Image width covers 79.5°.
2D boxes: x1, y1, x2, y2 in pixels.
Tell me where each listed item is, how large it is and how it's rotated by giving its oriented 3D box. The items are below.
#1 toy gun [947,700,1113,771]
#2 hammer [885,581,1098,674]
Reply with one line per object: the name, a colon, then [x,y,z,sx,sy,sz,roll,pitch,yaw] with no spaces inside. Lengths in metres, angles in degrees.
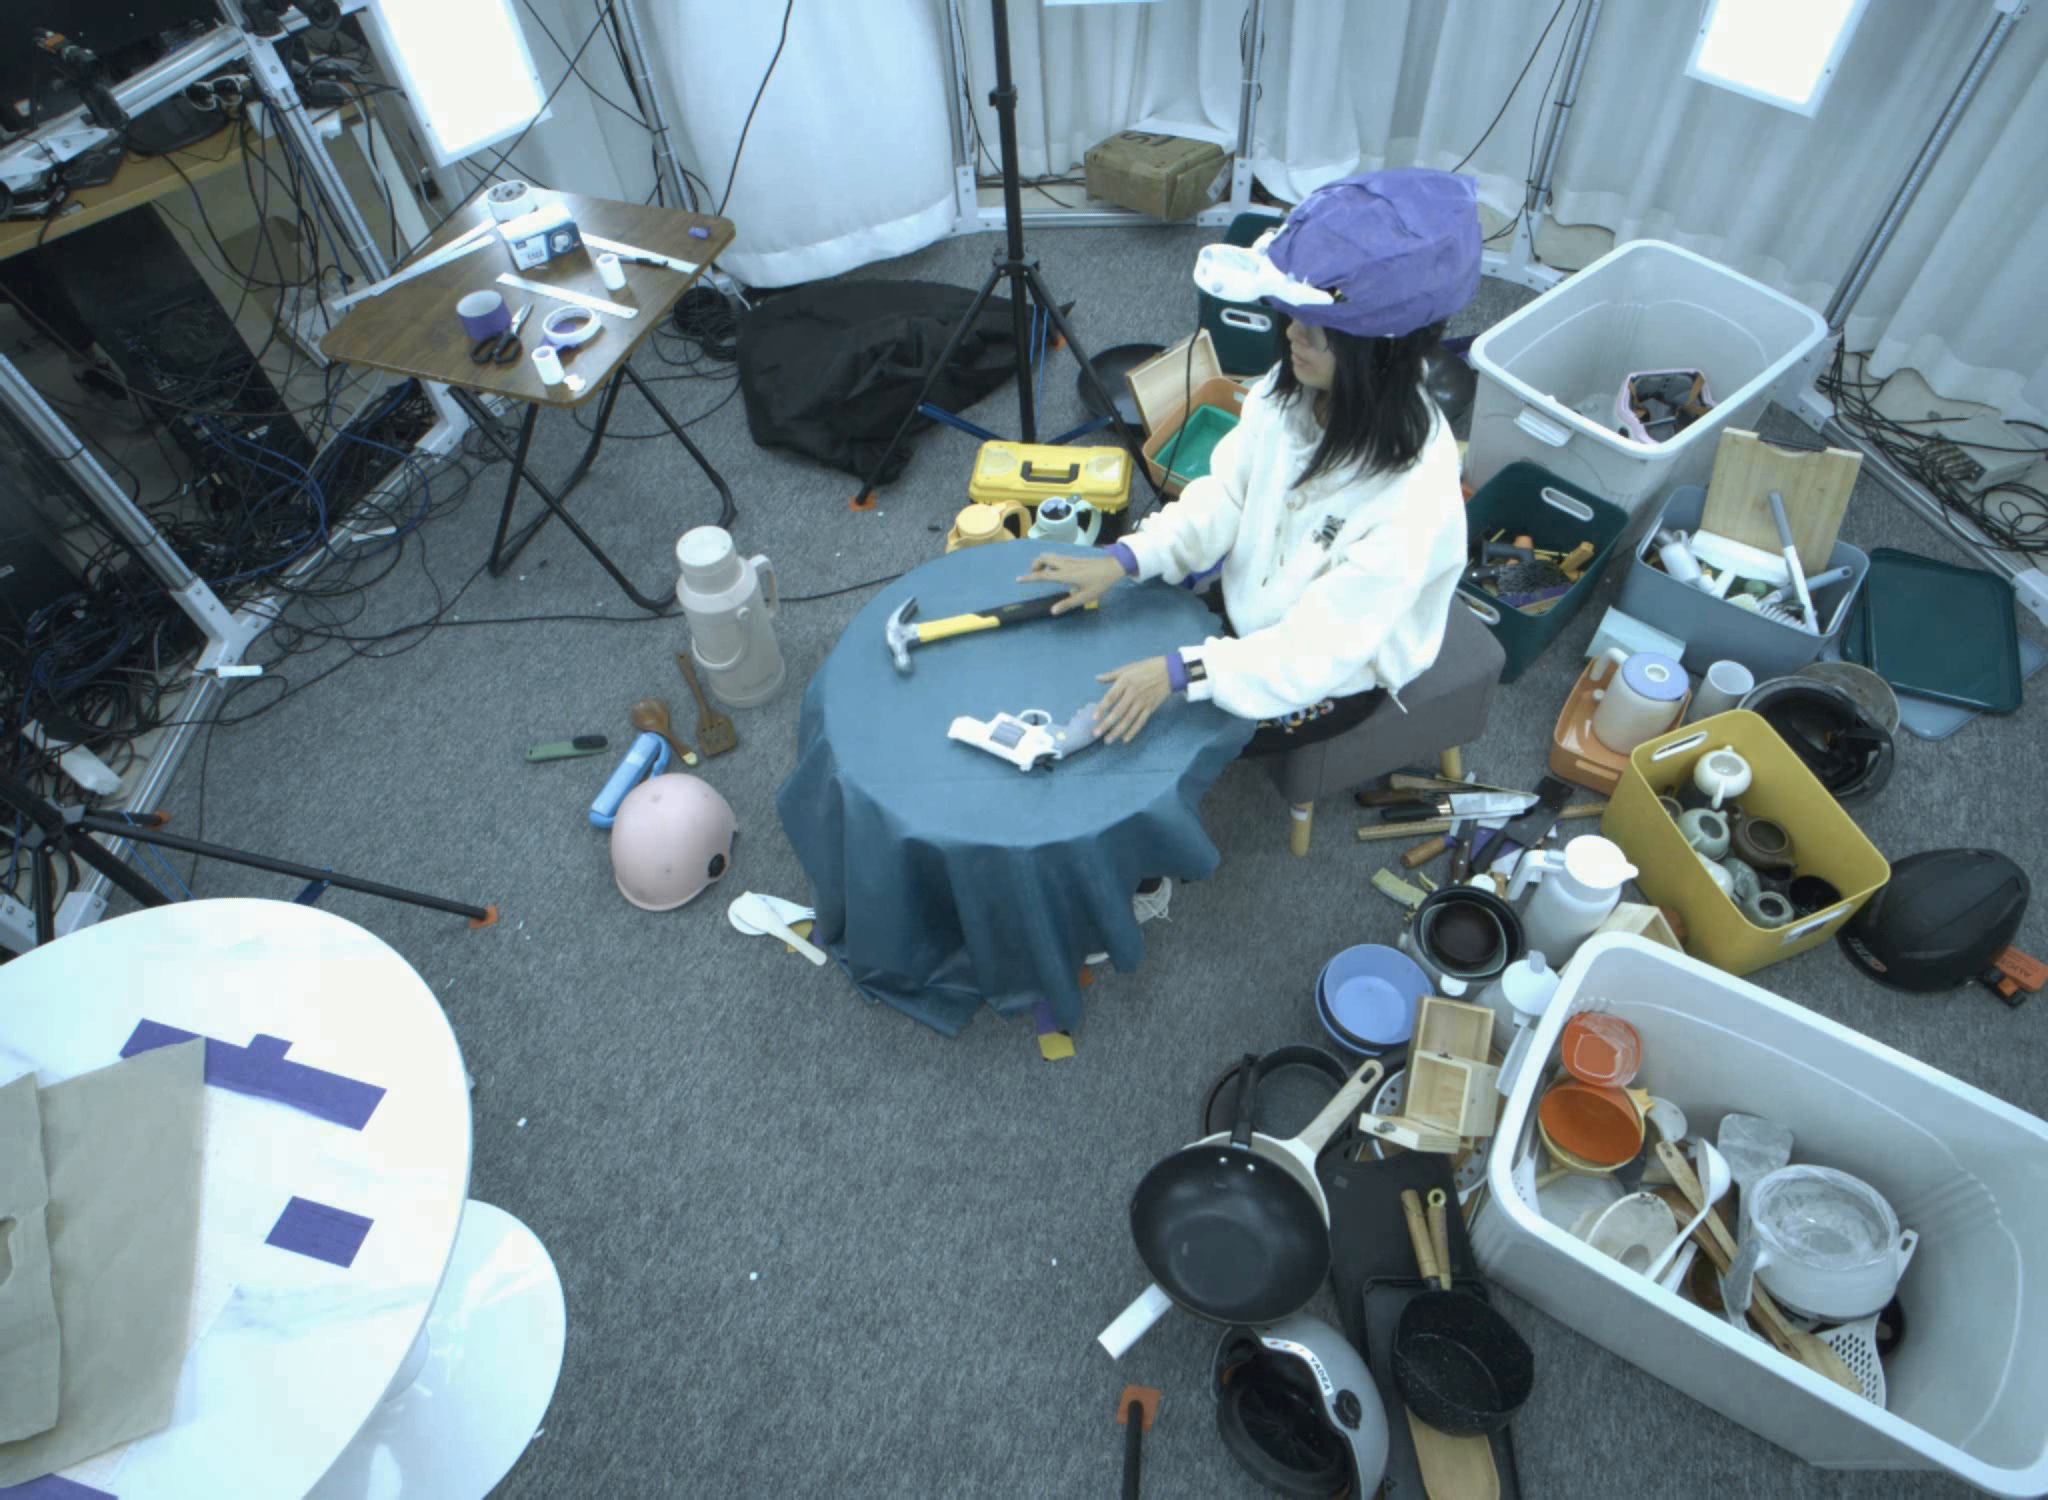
toy gun: [0.009,-0.035,1.788,0.206,0.039,0.142,21,60,16]
hammer: [-0.050,-0.211,1.916,0.340,0.032,0.129,-14,53,-6]
